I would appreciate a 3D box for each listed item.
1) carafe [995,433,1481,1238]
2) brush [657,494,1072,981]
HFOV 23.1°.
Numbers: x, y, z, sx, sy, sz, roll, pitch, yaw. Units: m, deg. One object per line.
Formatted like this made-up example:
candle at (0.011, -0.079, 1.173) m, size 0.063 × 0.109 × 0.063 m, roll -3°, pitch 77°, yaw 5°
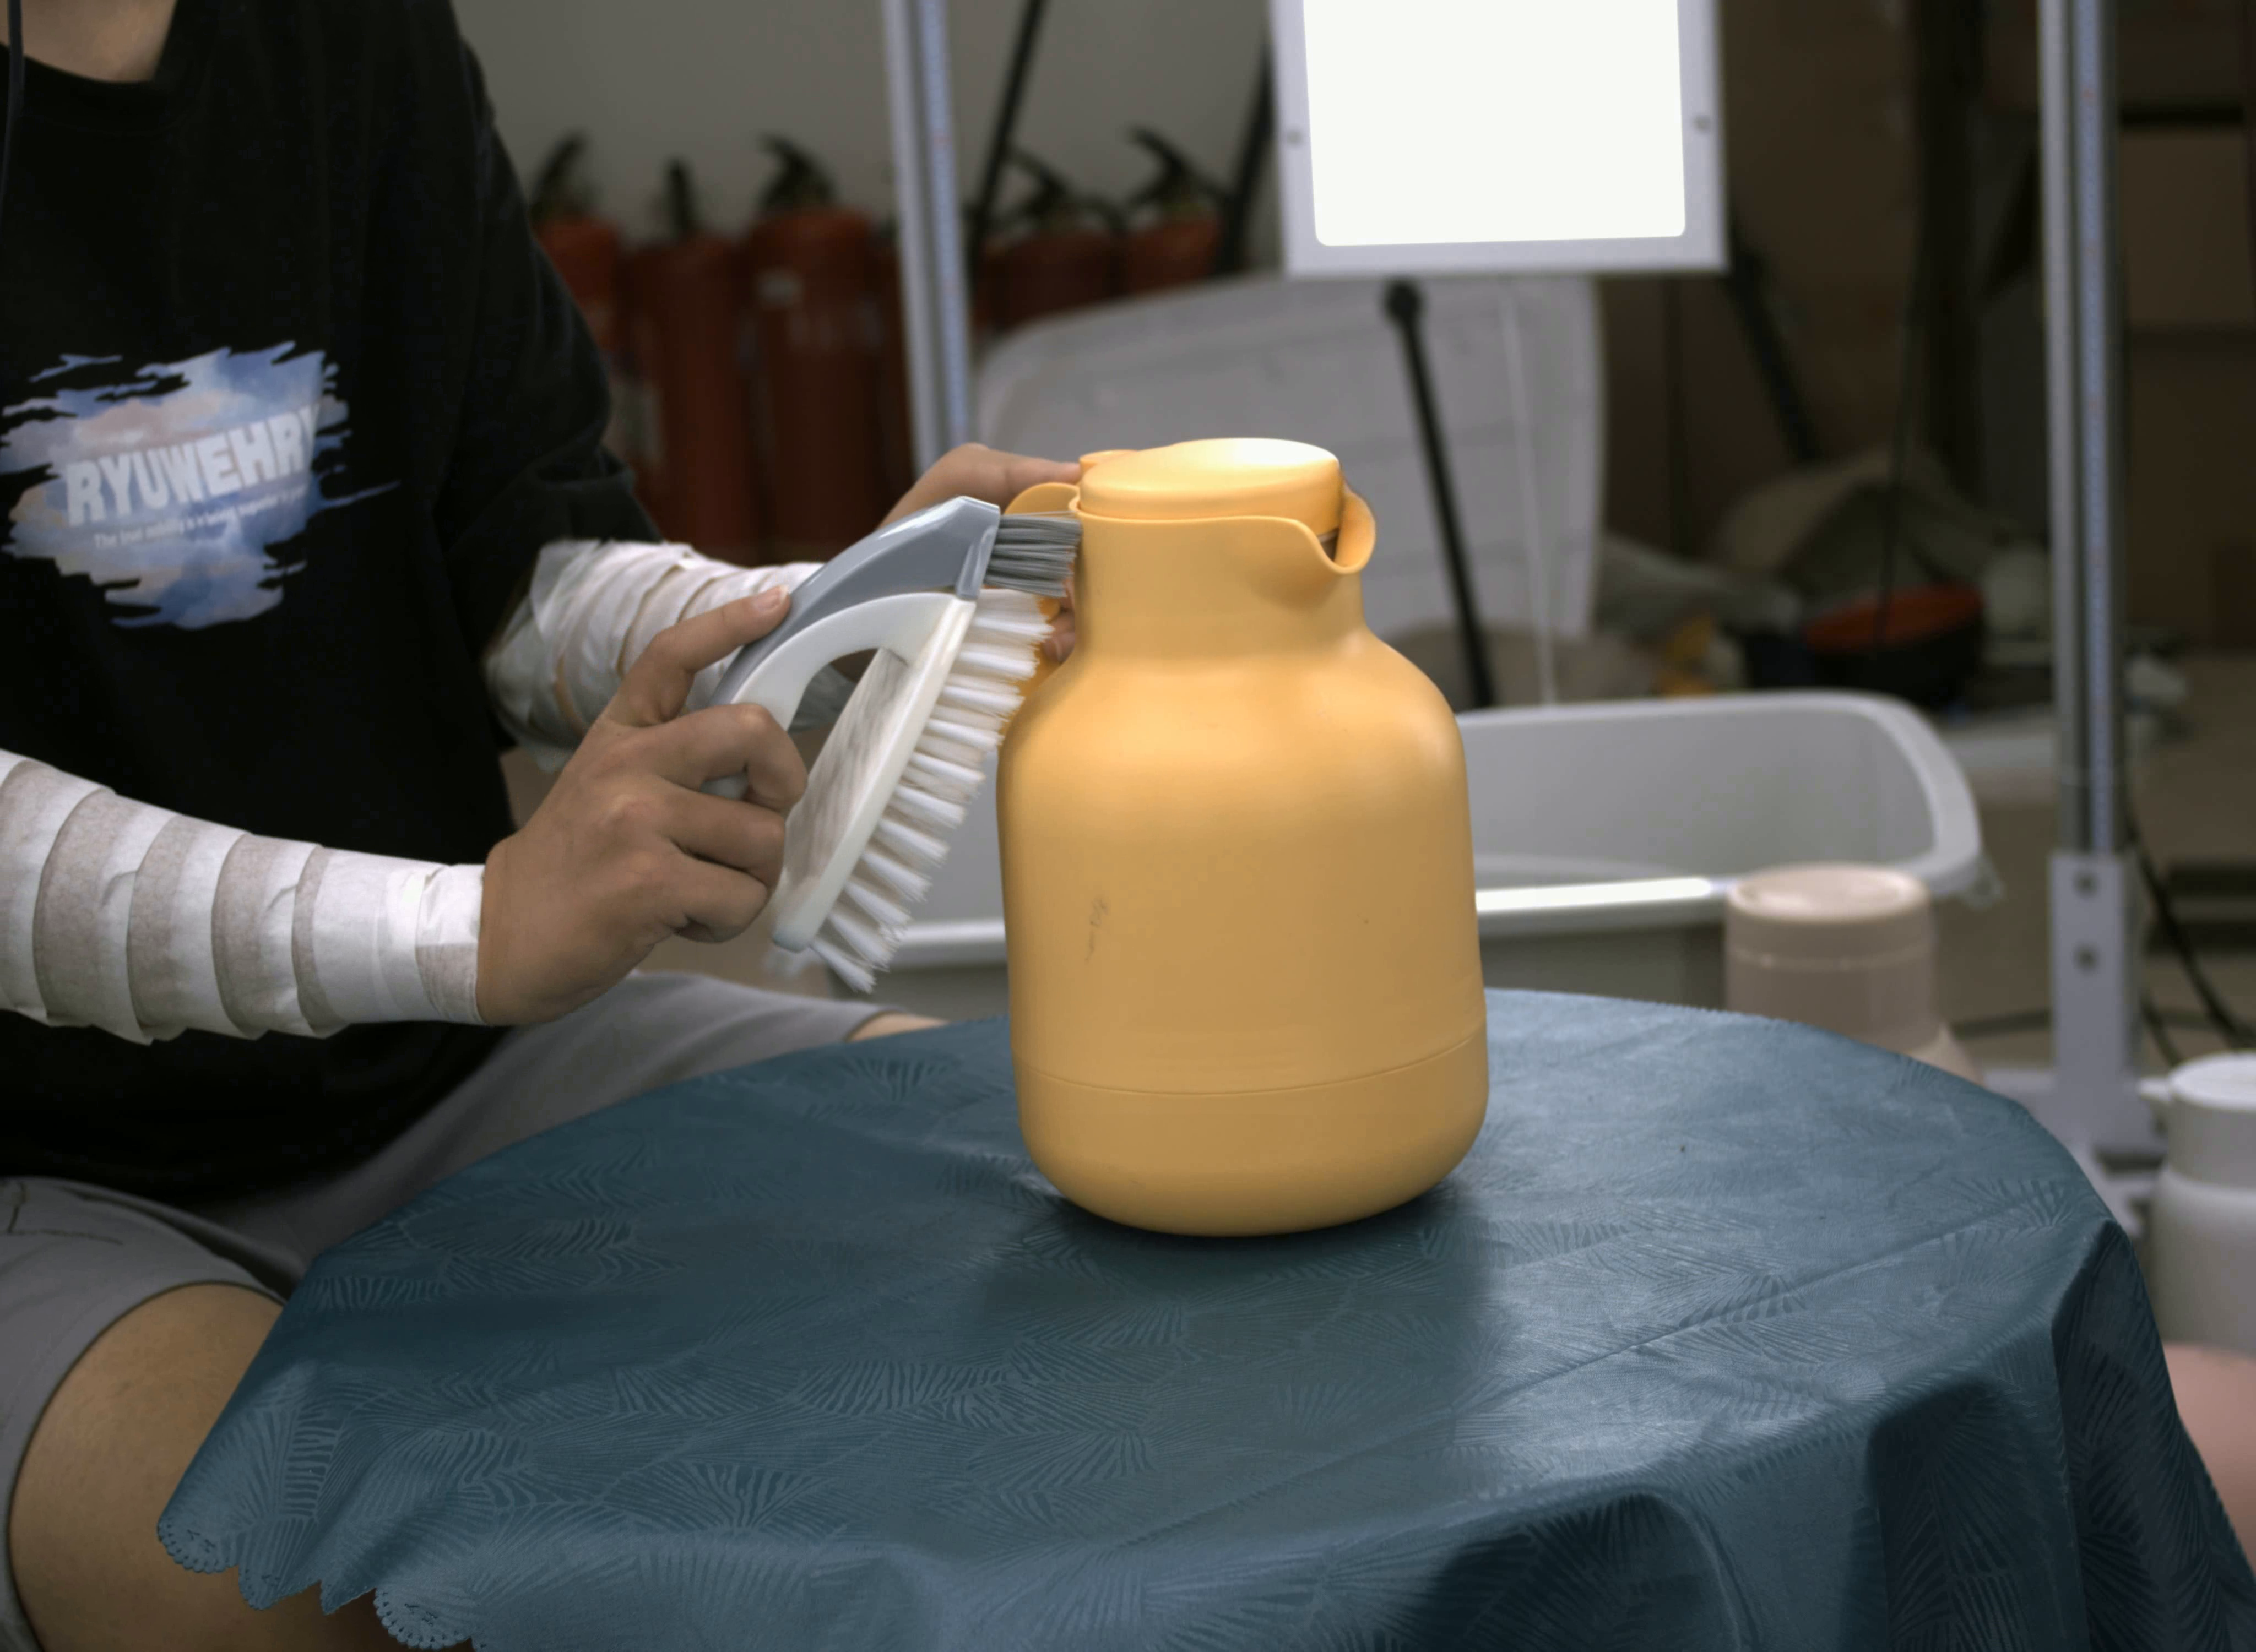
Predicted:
carafe at (0.026, -0.004, 1.876) m, size 0.159 × 0.261 × 0.206 m, roll -11°, pitch 16°, yaw -31°
brush at (-0.093, -0.042, 1.835) m, size 0.092 × 0.177 × 0.062 m, roll 23°, pitch 18°, yaw -25°
